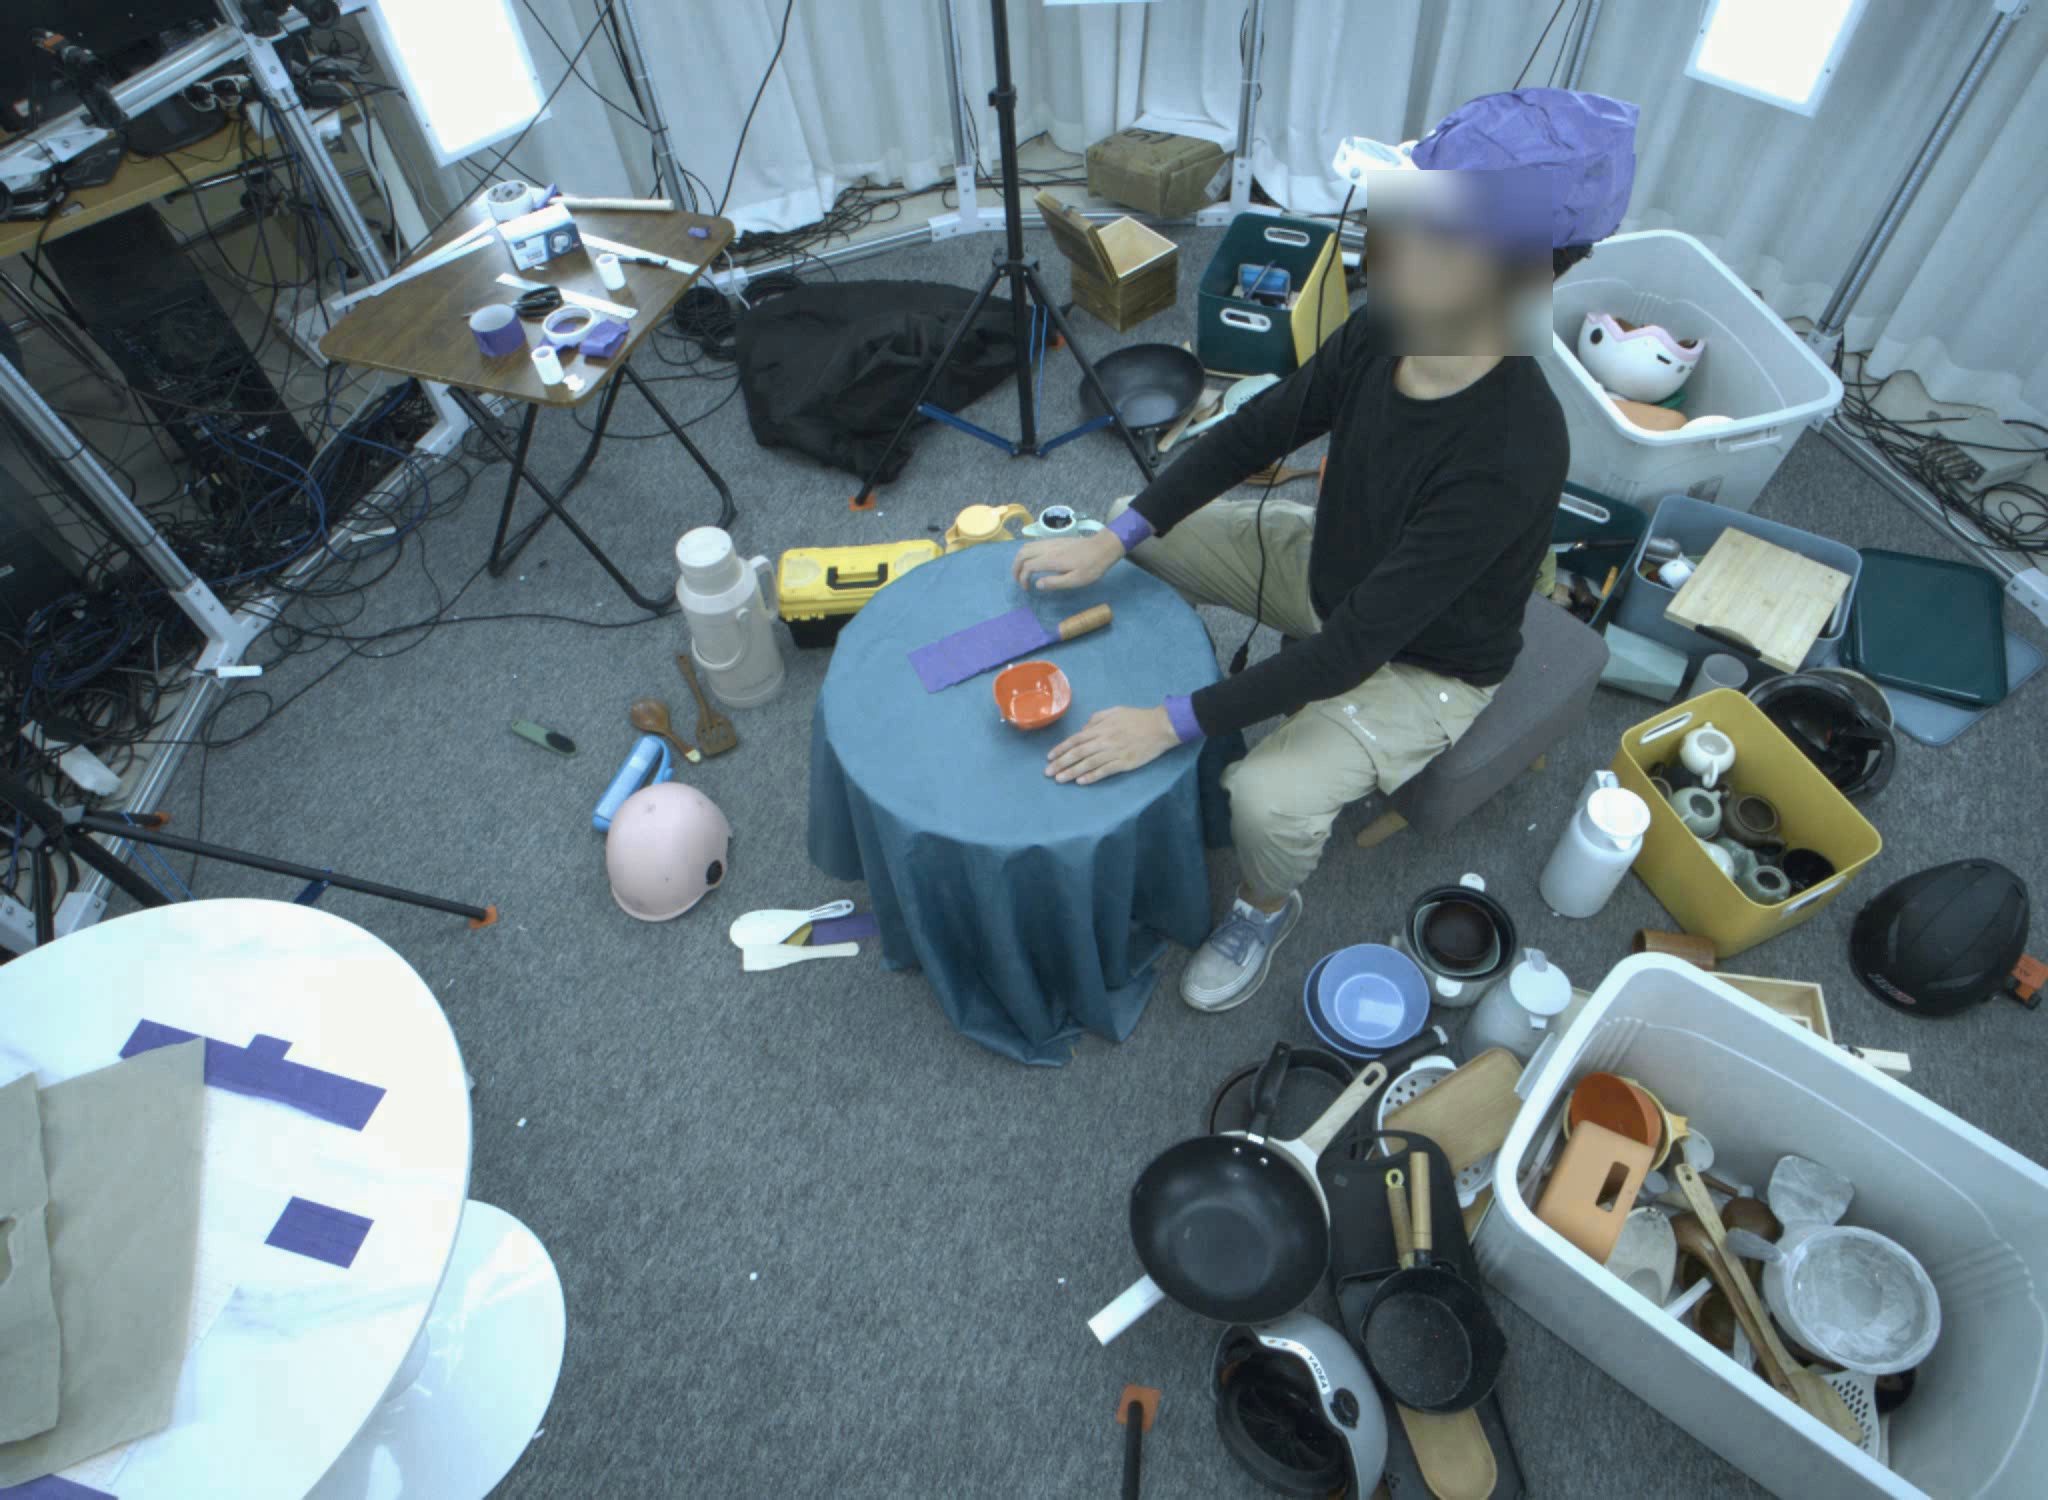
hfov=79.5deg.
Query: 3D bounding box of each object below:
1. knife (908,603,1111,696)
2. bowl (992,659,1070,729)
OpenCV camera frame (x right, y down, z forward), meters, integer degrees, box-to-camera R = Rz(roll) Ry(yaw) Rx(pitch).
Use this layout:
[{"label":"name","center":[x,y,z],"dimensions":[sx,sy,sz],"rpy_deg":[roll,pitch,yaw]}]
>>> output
[{"label":"knife","center":[-0.025,-0.178,1.895],"dimensions":[0.317,0.032,0.102],"rpy_deg":[-23,57,-13]},{"label":"bowl","center":[0.012,-0.074,1.801],"dimensions":[0.119,0.052,0.118],"rpy_deg":[-1,55,3]}]
